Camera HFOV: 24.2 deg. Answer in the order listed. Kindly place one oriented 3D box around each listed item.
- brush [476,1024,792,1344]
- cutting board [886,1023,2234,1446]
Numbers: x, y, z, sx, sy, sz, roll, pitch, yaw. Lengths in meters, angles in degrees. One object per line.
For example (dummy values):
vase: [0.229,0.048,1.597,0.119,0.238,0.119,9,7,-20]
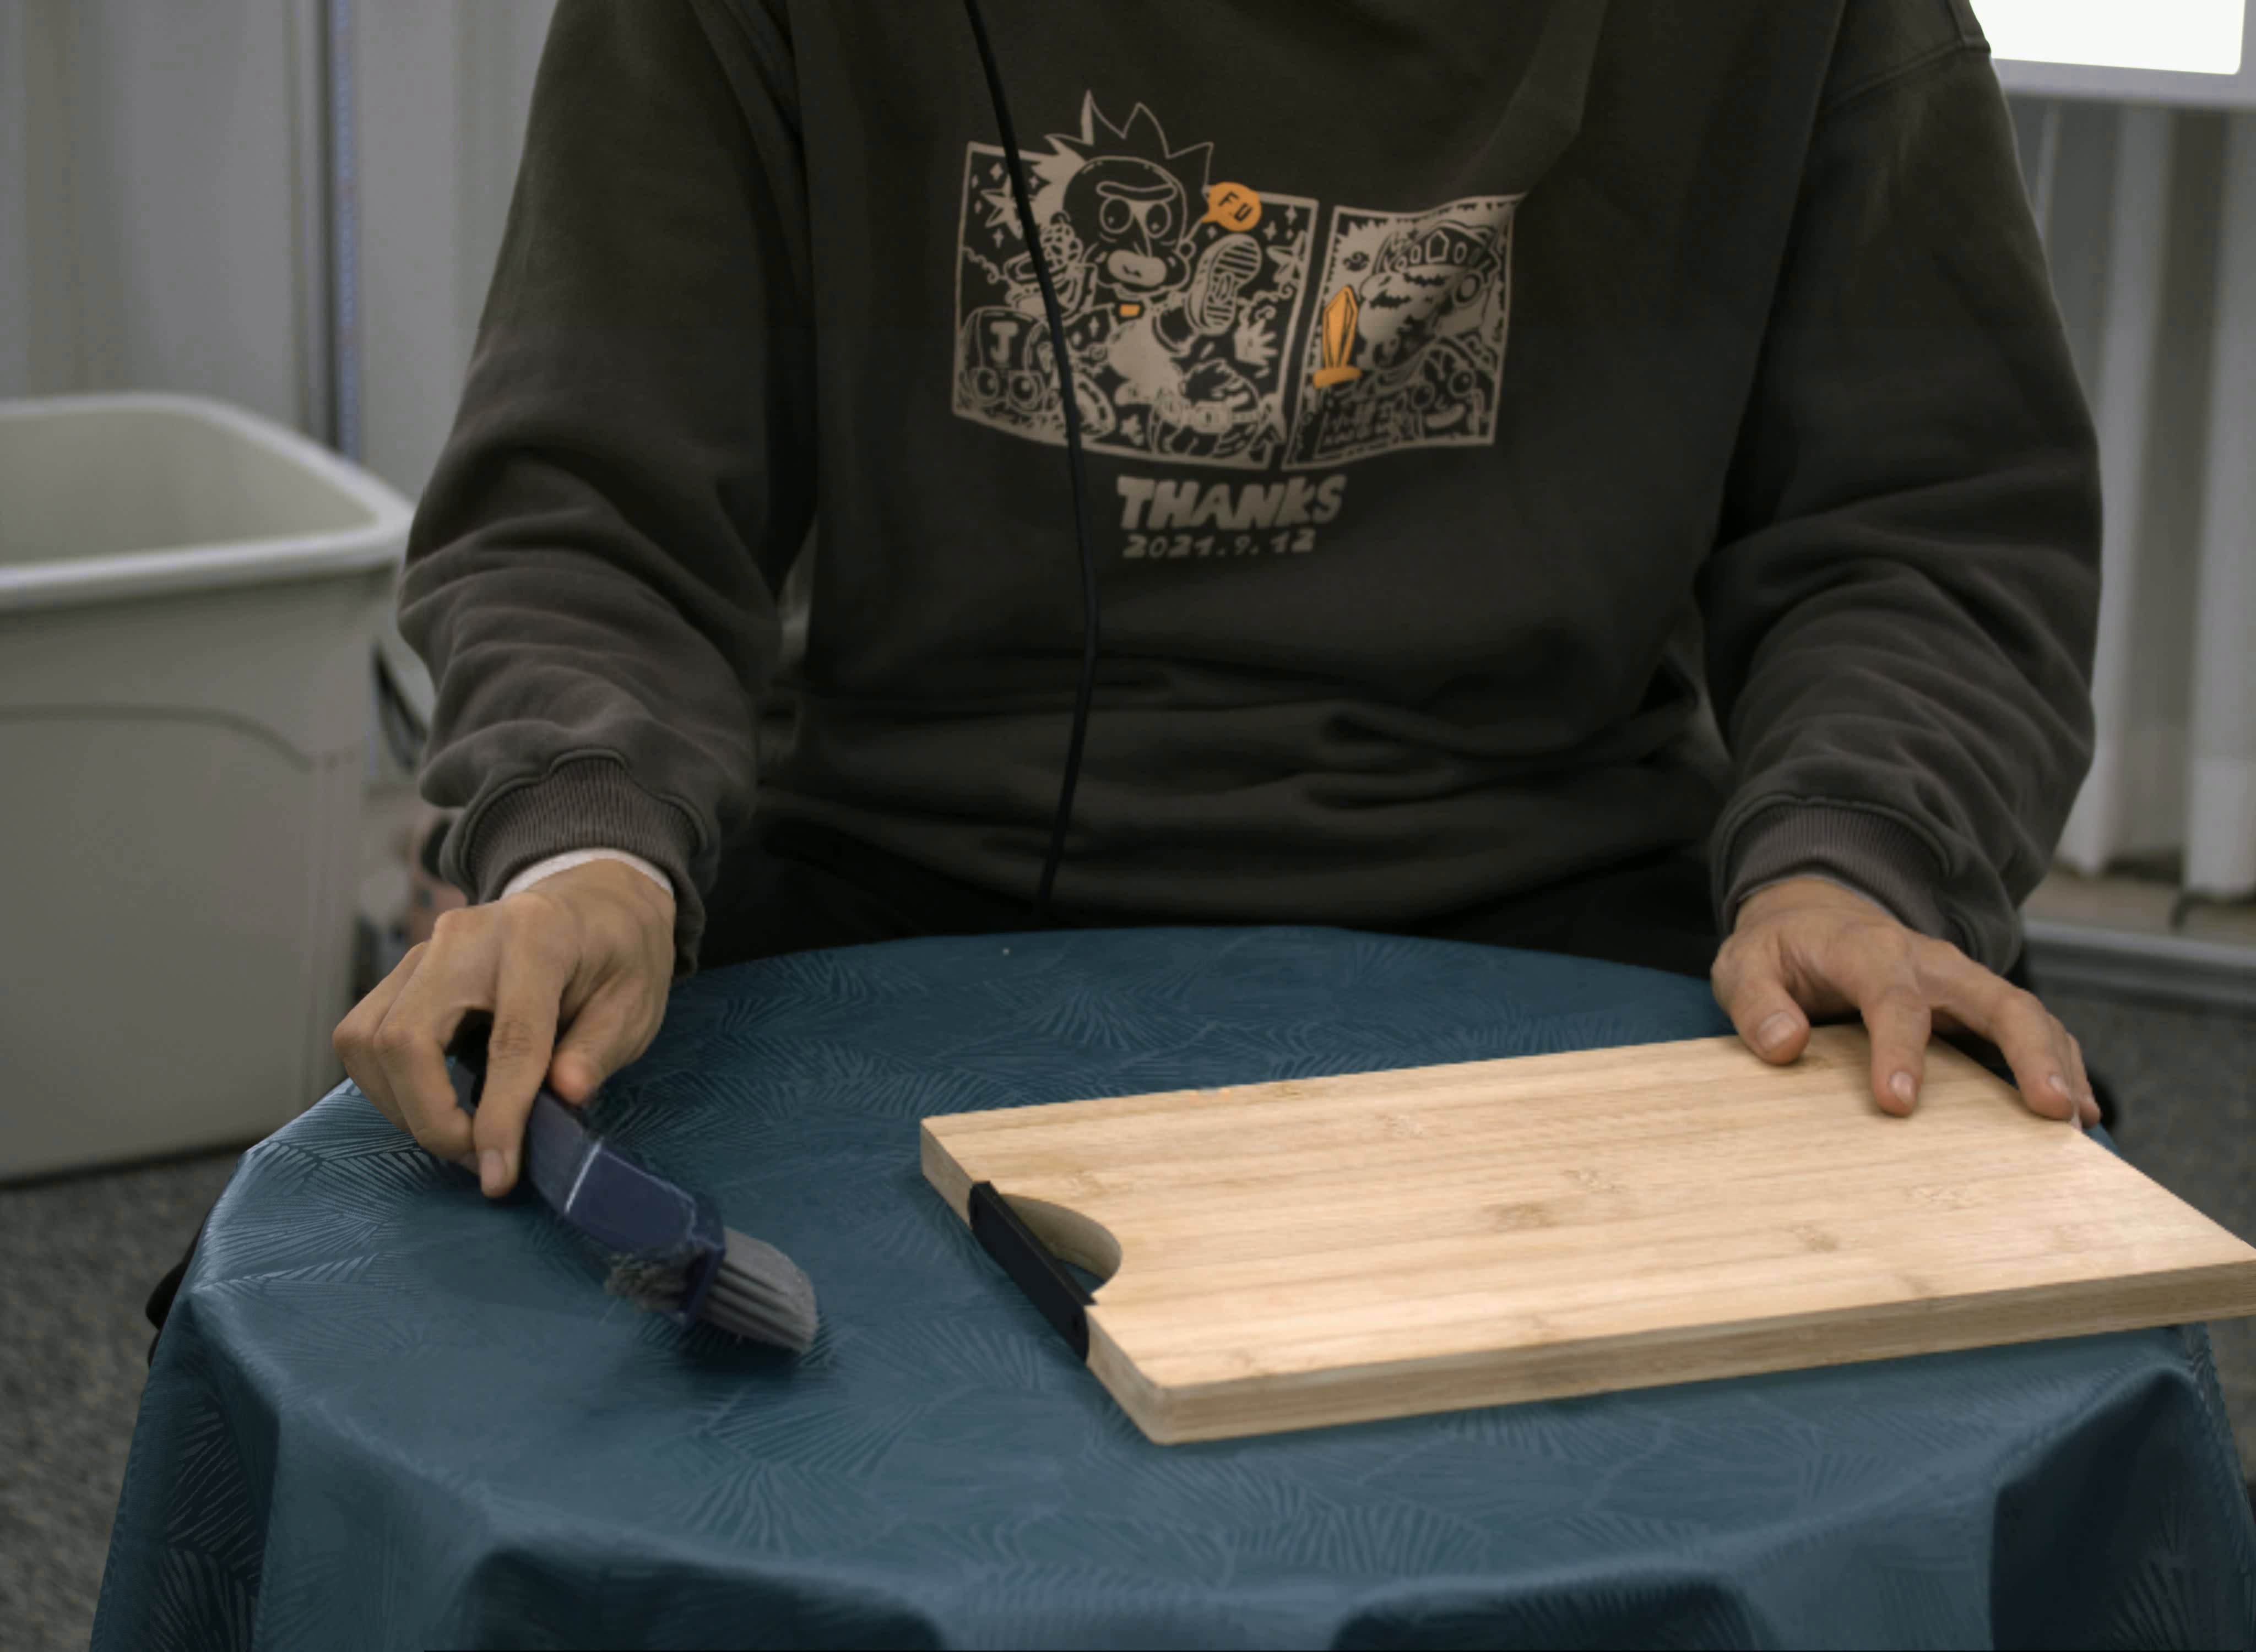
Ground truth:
brush: [-0.168,0.101,1.573,0.096,0.033,0.270,22,3,-31]
cutting board: [0.125,0.118,1.586,0.349,0.024,0.248,-5,16,-19]
